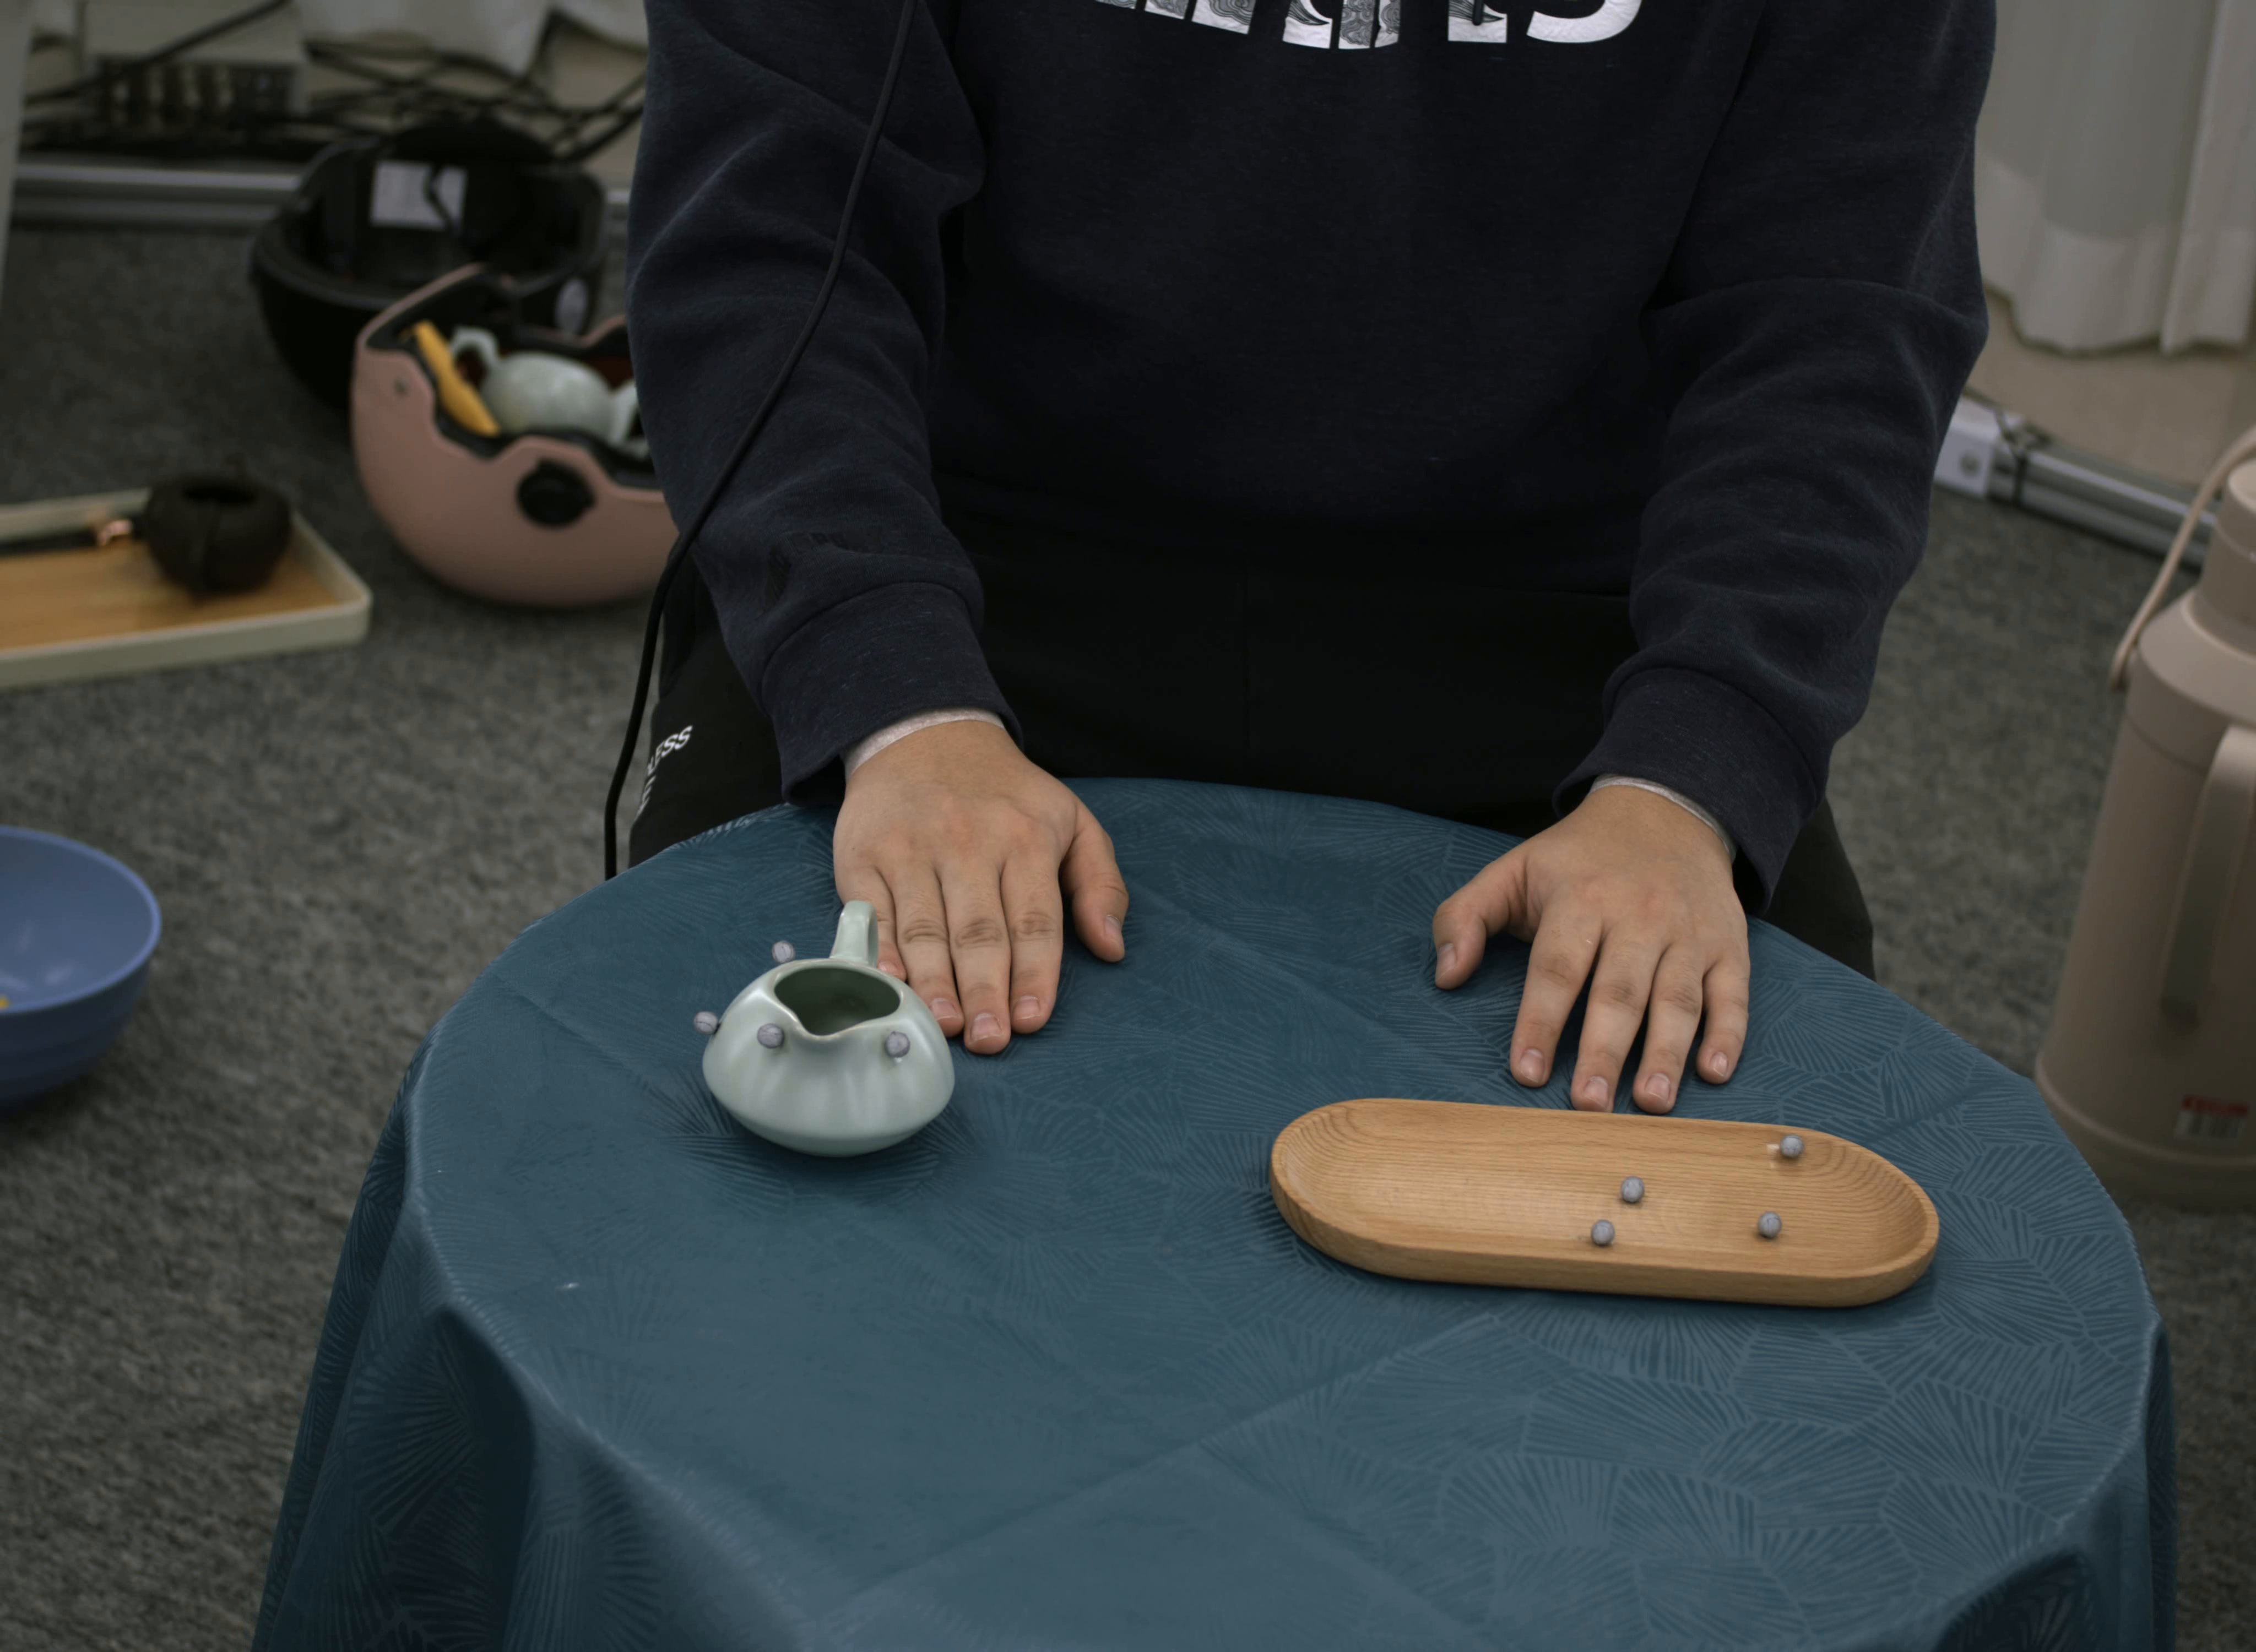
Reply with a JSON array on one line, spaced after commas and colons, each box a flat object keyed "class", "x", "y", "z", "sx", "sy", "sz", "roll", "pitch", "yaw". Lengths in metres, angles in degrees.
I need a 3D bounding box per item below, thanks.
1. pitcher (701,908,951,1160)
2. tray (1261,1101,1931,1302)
[{"class": "pitcher", "x": -0.101, "y": 0.072, "z": 1.823, "sx": 0.086, "sy": 0.060, "sz": 0.108, "roll": 9, "pitch": 24, "yaw": 1}, {"class": "tray", "x": 0.159, "y": 0.129, "z": 1.817, "sx": 0.230, "sy": 0.020, "sz": 0.102, "roll": 2, "pitch": 26, "yaw": -5}]
